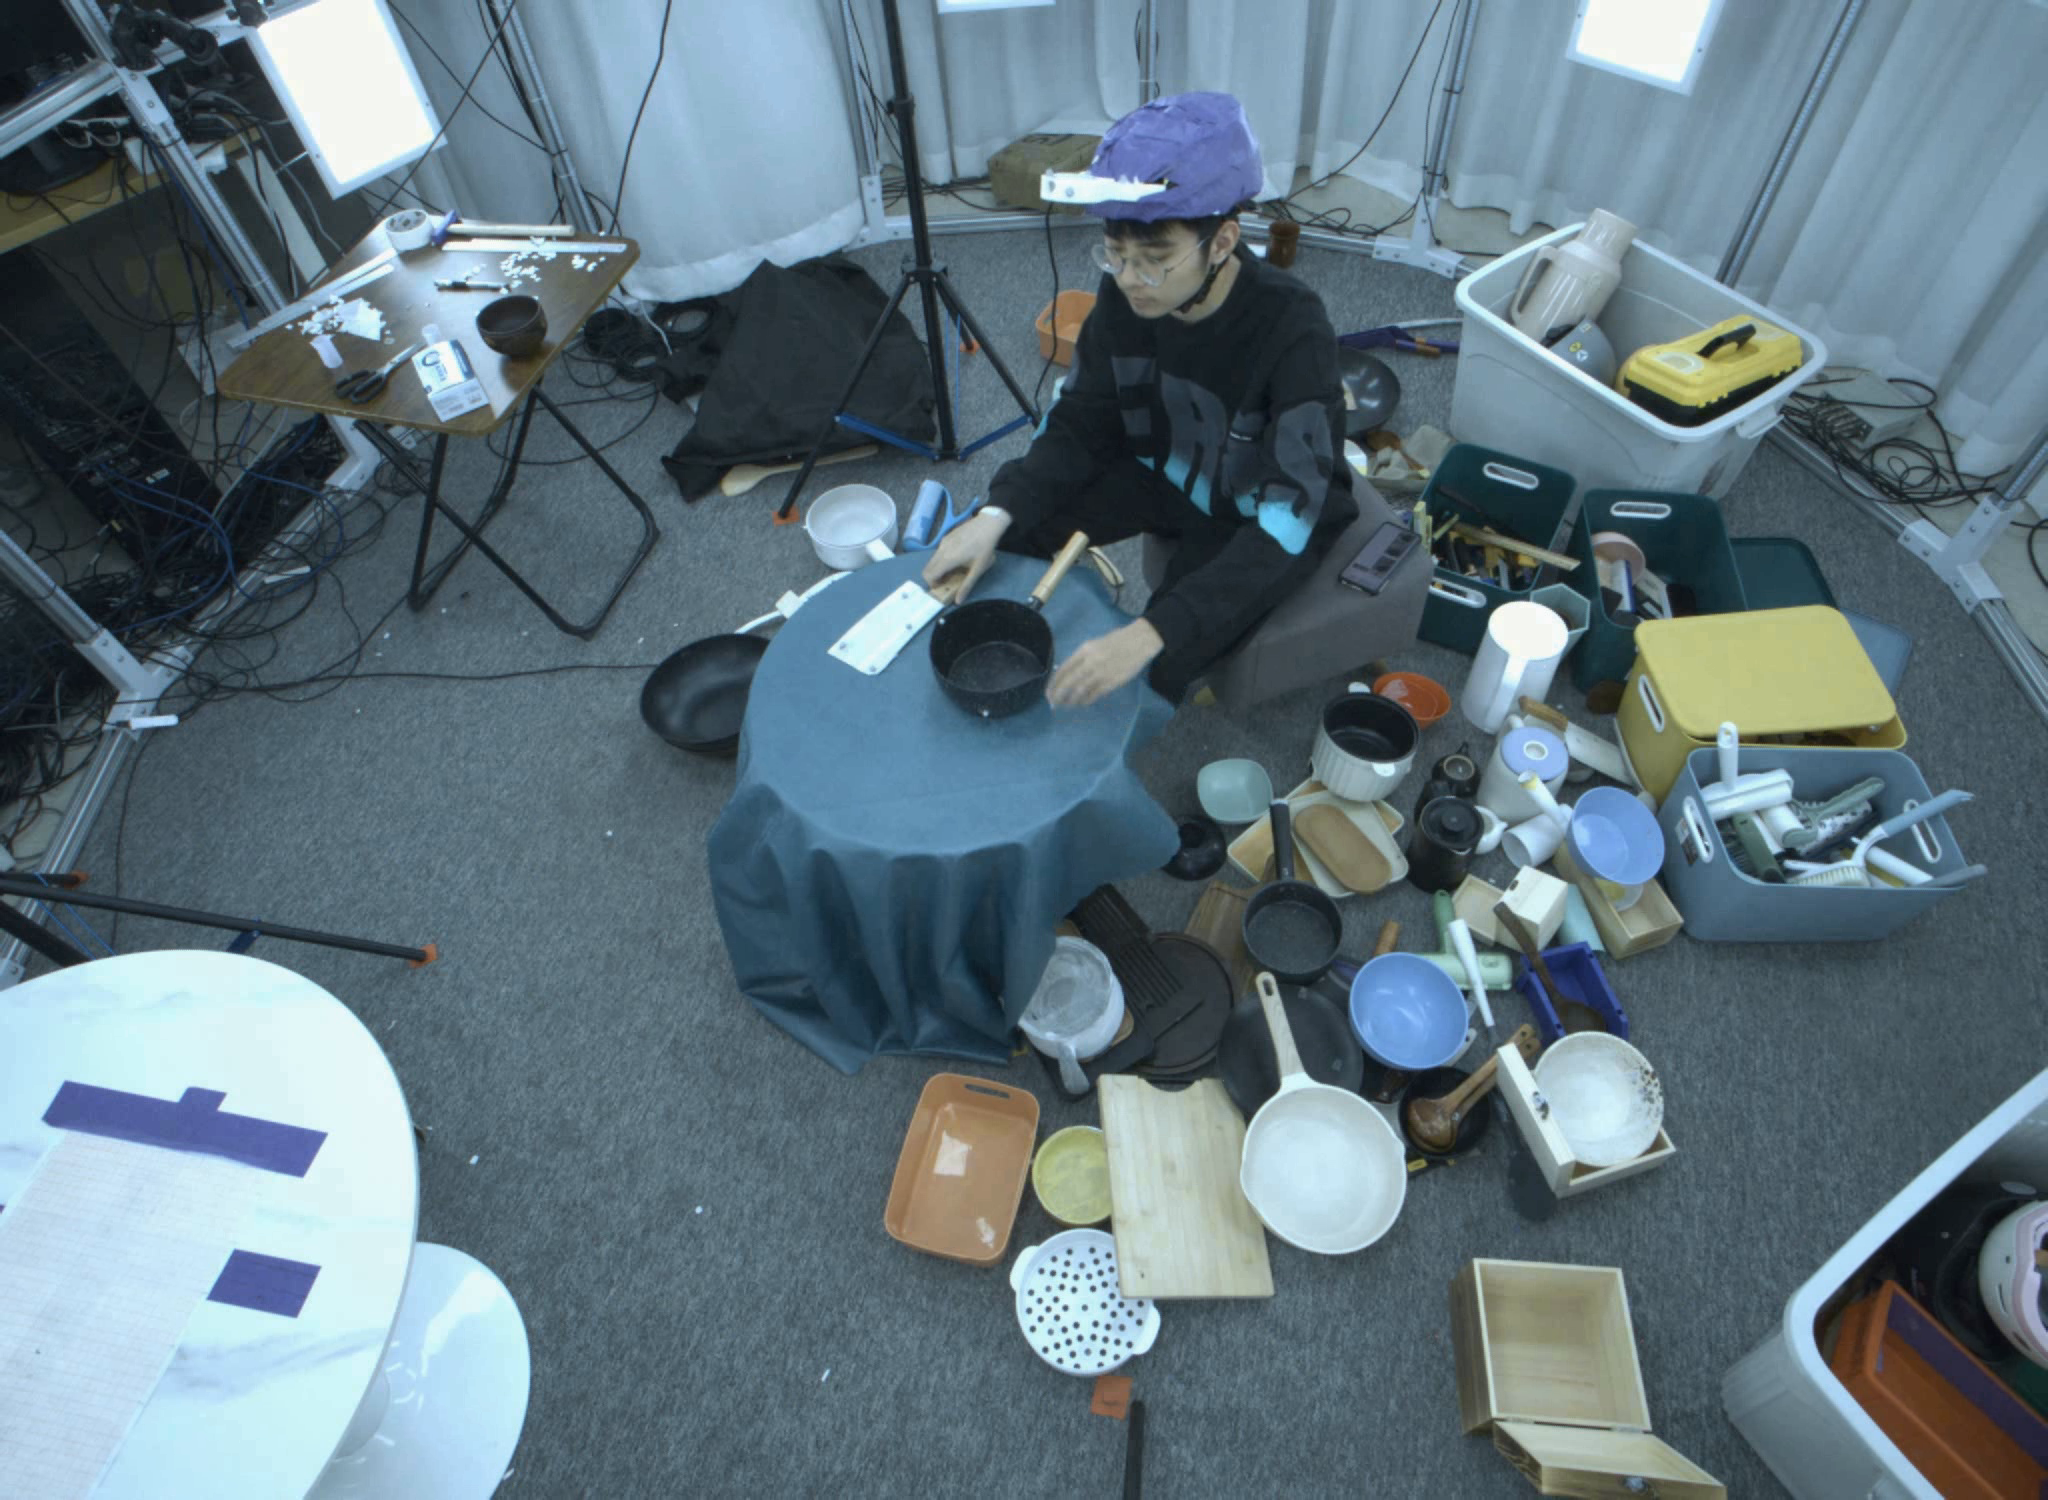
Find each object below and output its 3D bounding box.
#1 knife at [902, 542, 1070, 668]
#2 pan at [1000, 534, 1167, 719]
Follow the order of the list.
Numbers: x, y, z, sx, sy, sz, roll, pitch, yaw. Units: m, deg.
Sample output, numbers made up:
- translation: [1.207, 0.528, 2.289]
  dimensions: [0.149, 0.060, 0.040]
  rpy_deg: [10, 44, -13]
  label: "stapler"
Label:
- translation: [-0.050, -0.236, 1.944]
  dimensions: [0.317, 0.022, 0.112]
  rpy_deg: [-38, 61, -19]
  label: "knife"
- translation: [0.107, -0.190, 1.850]
  dimensions: [0.204, 0.109, 0.344]
  rpy_deg: [30, 62, 22]
  label: "pan"
